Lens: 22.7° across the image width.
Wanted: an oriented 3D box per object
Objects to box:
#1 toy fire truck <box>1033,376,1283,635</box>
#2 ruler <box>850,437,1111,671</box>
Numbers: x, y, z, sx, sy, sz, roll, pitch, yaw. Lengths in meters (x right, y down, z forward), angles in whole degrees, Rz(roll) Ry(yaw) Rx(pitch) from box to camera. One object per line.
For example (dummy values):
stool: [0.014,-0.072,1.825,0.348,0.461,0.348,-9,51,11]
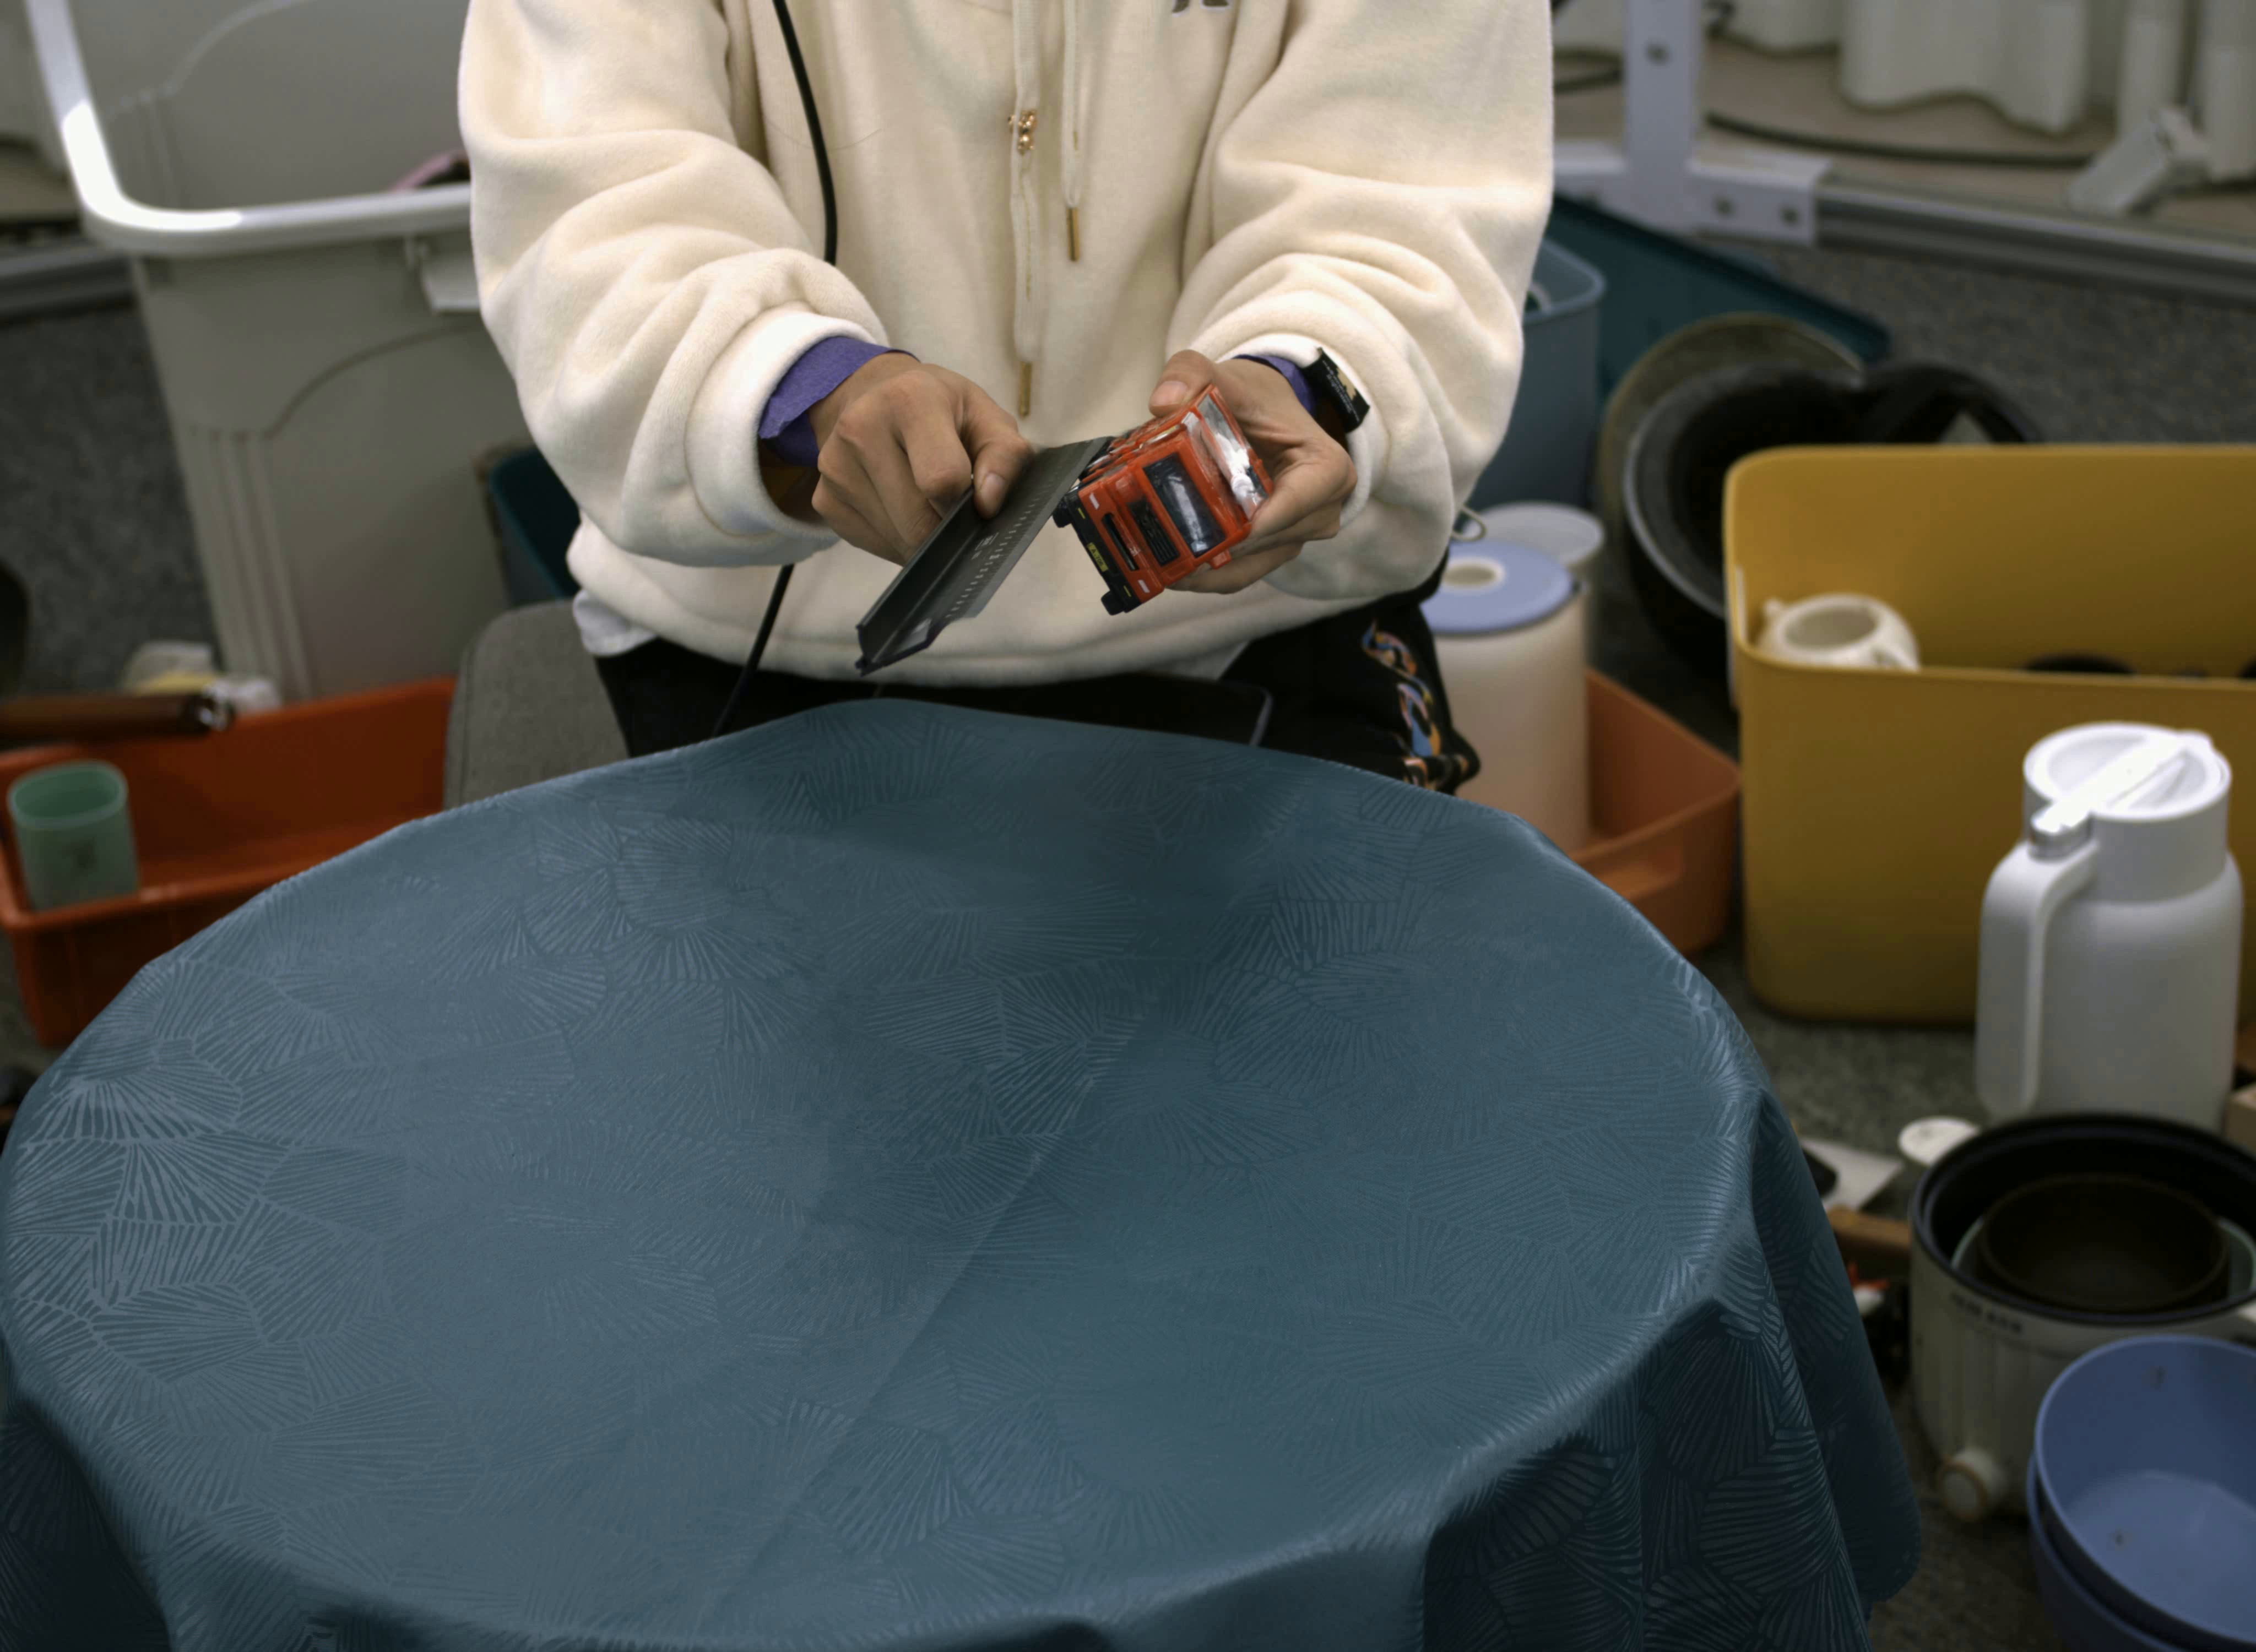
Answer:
toy fire truck: [0.014,-0.112,1.927,0.070,0.054,0.169,-30,6,9]
ruler: [-0.048,-0.099,1.868,0.039,0.017,0.315,-21,10,13]
